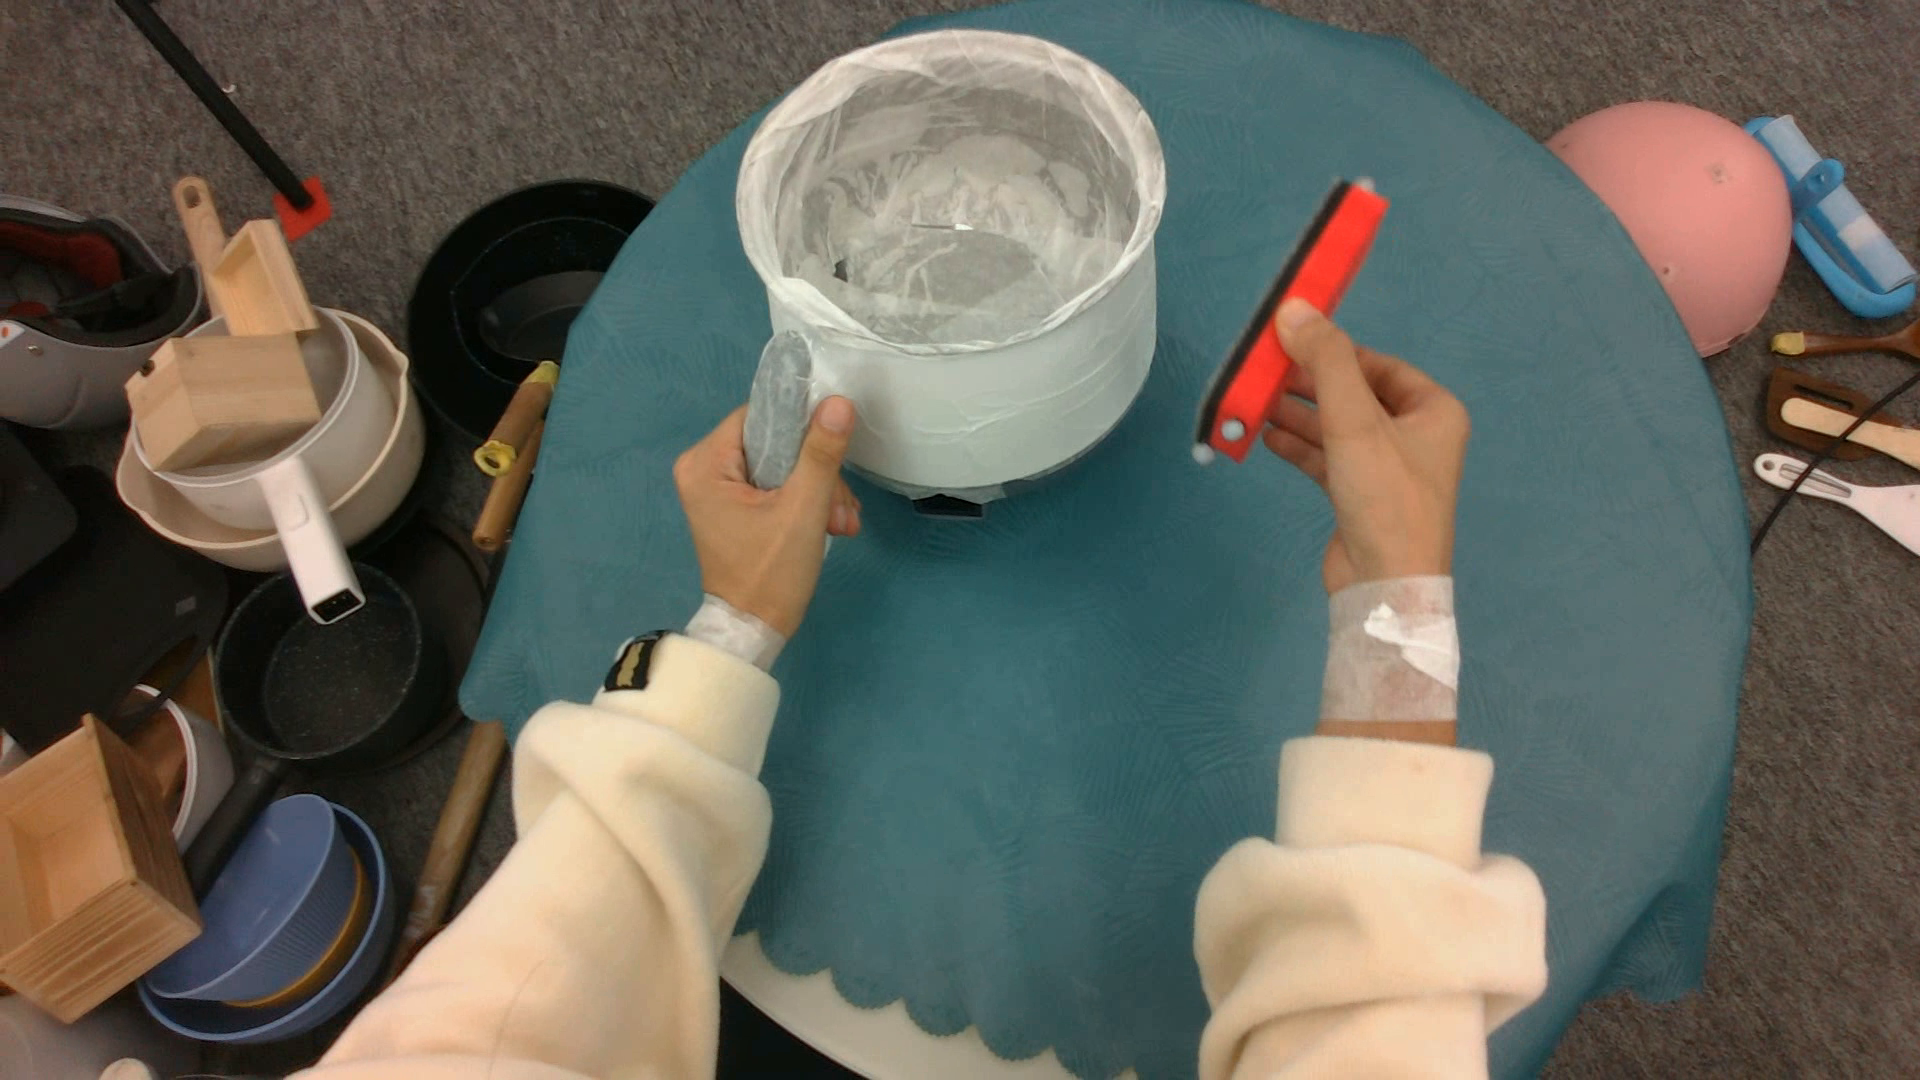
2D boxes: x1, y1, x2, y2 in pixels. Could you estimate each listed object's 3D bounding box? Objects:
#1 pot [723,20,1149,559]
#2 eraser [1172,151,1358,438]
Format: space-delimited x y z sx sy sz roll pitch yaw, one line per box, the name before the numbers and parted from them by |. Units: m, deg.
pot | -0.020 -0.102 0.607 0.178 0.136 0.234 28 65 22
eraser | 0.118 -0.095 0.538 0.023 0.059 0.108 28 78 13
